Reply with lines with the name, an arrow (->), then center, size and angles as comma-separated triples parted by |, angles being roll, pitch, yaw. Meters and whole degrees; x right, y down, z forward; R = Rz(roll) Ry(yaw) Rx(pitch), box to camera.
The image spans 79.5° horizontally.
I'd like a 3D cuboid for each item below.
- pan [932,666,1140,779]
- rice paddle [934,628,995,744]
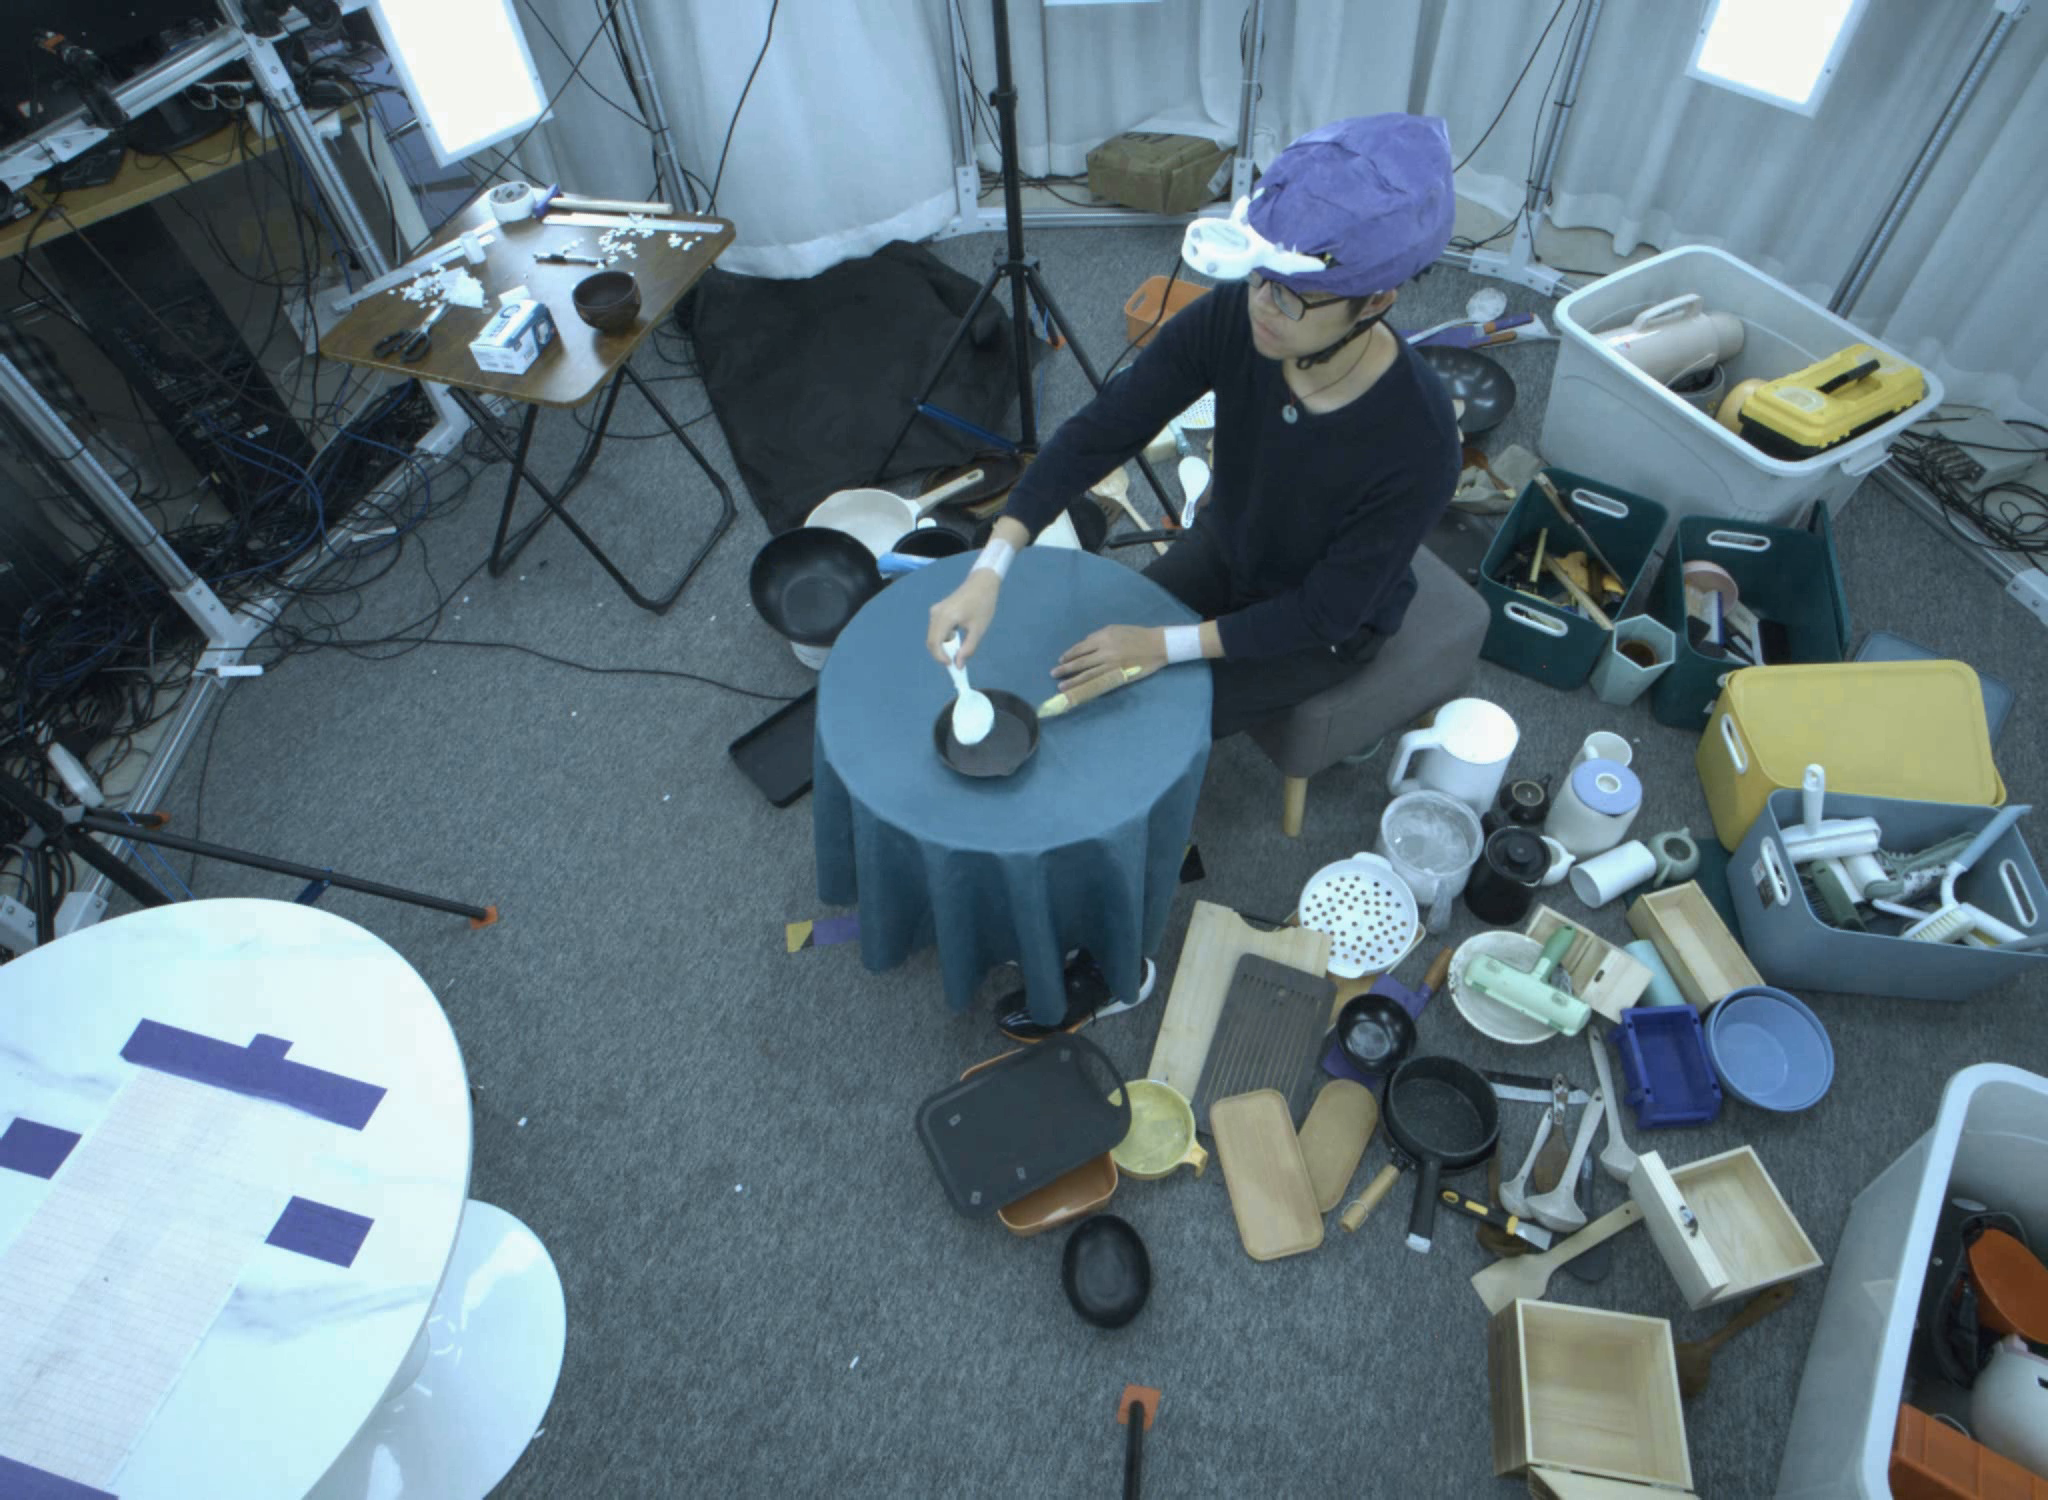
pan -> 0.023, -0.053, 1.792 | 0.326, 0.050, 0.166 | -21, 57, -11
rice paddle -> -0.084, -0.083, 1.719 | 0.069, 0.208, 0.029 | -35, 47, -18
